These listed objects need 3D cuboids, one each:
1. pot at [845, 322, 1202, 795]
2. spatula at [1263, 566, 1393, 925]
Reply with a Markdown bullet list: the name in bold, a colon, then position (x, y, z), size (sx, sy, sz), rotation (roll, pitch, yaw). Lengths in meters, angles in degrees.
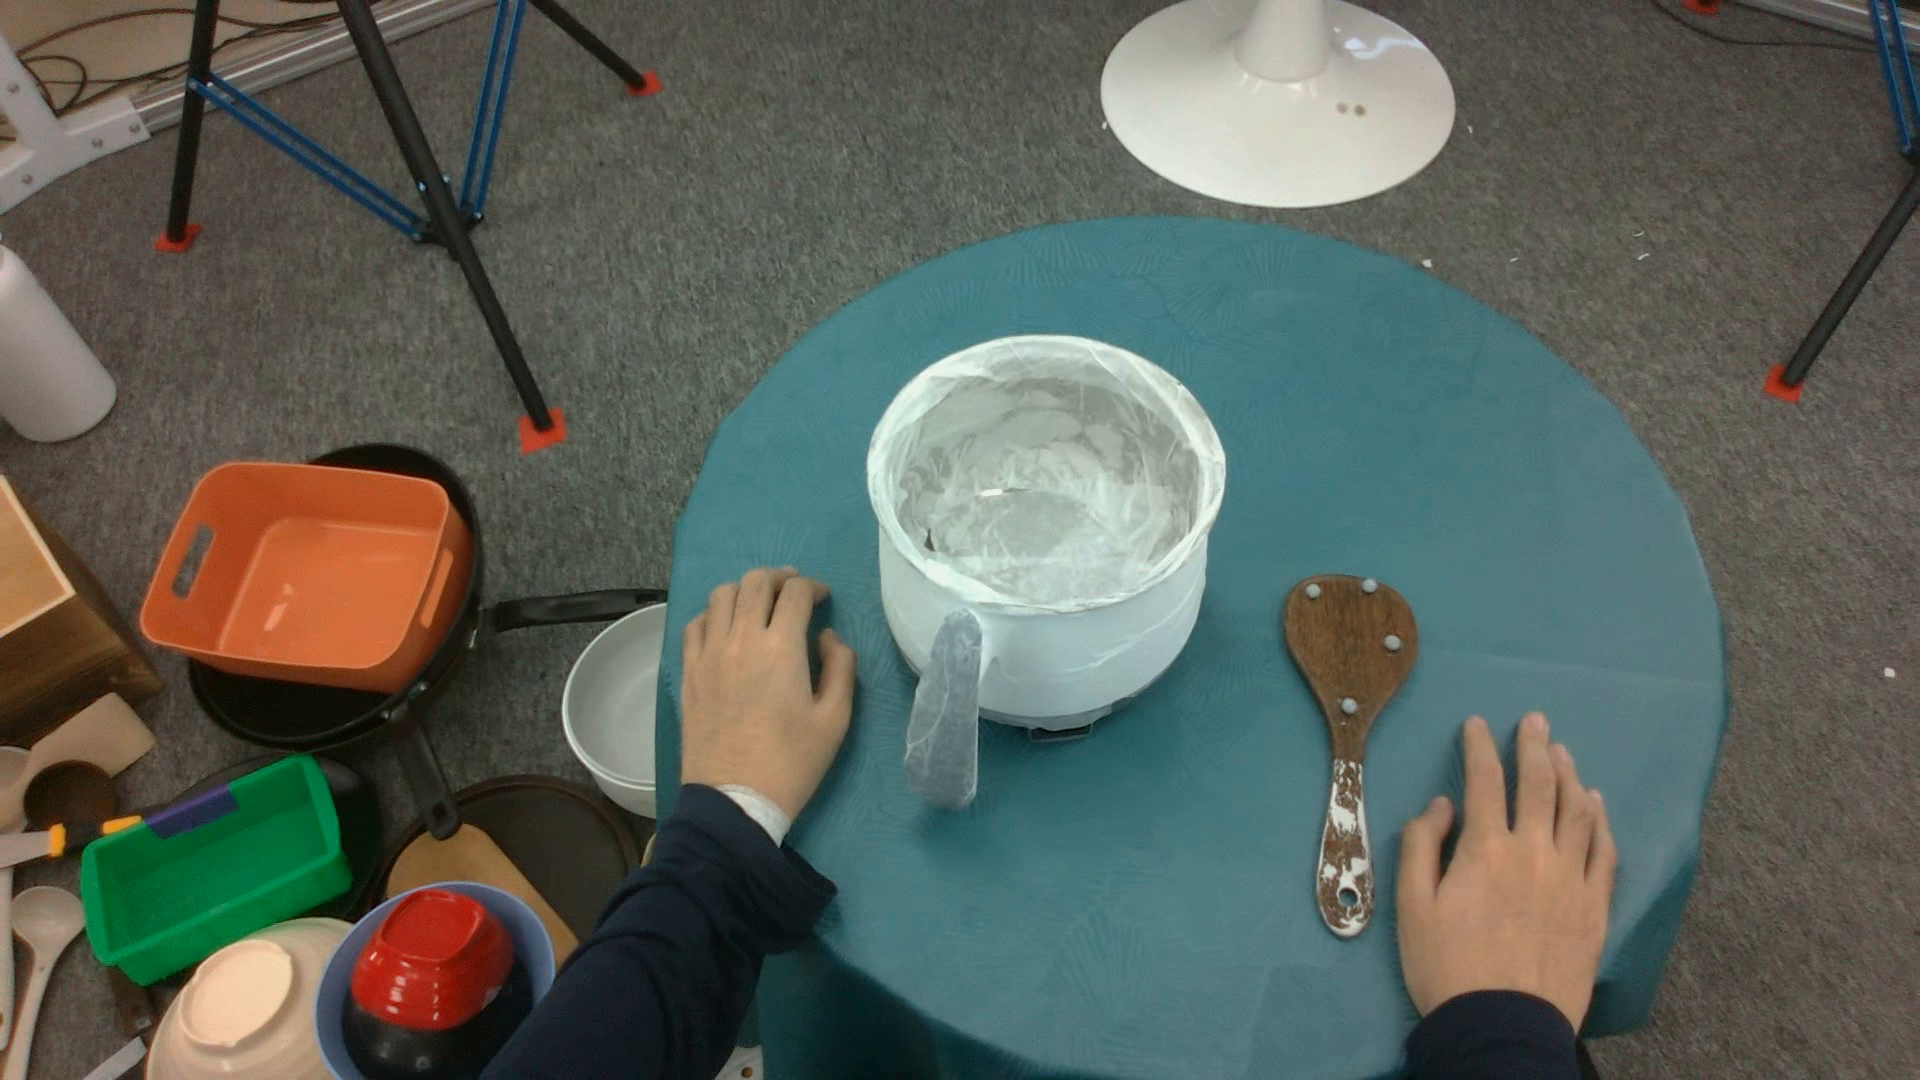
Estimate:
- **pot**: position (0.023, 0.013, 0.715), size (0.178, 0.136, 0.235), rotation (16, 54, 15)
- **spatula**: position (0.193, 0.100, 0.732), size (0.072, 0.009, 0.217), rotation (7, 55, 8)
